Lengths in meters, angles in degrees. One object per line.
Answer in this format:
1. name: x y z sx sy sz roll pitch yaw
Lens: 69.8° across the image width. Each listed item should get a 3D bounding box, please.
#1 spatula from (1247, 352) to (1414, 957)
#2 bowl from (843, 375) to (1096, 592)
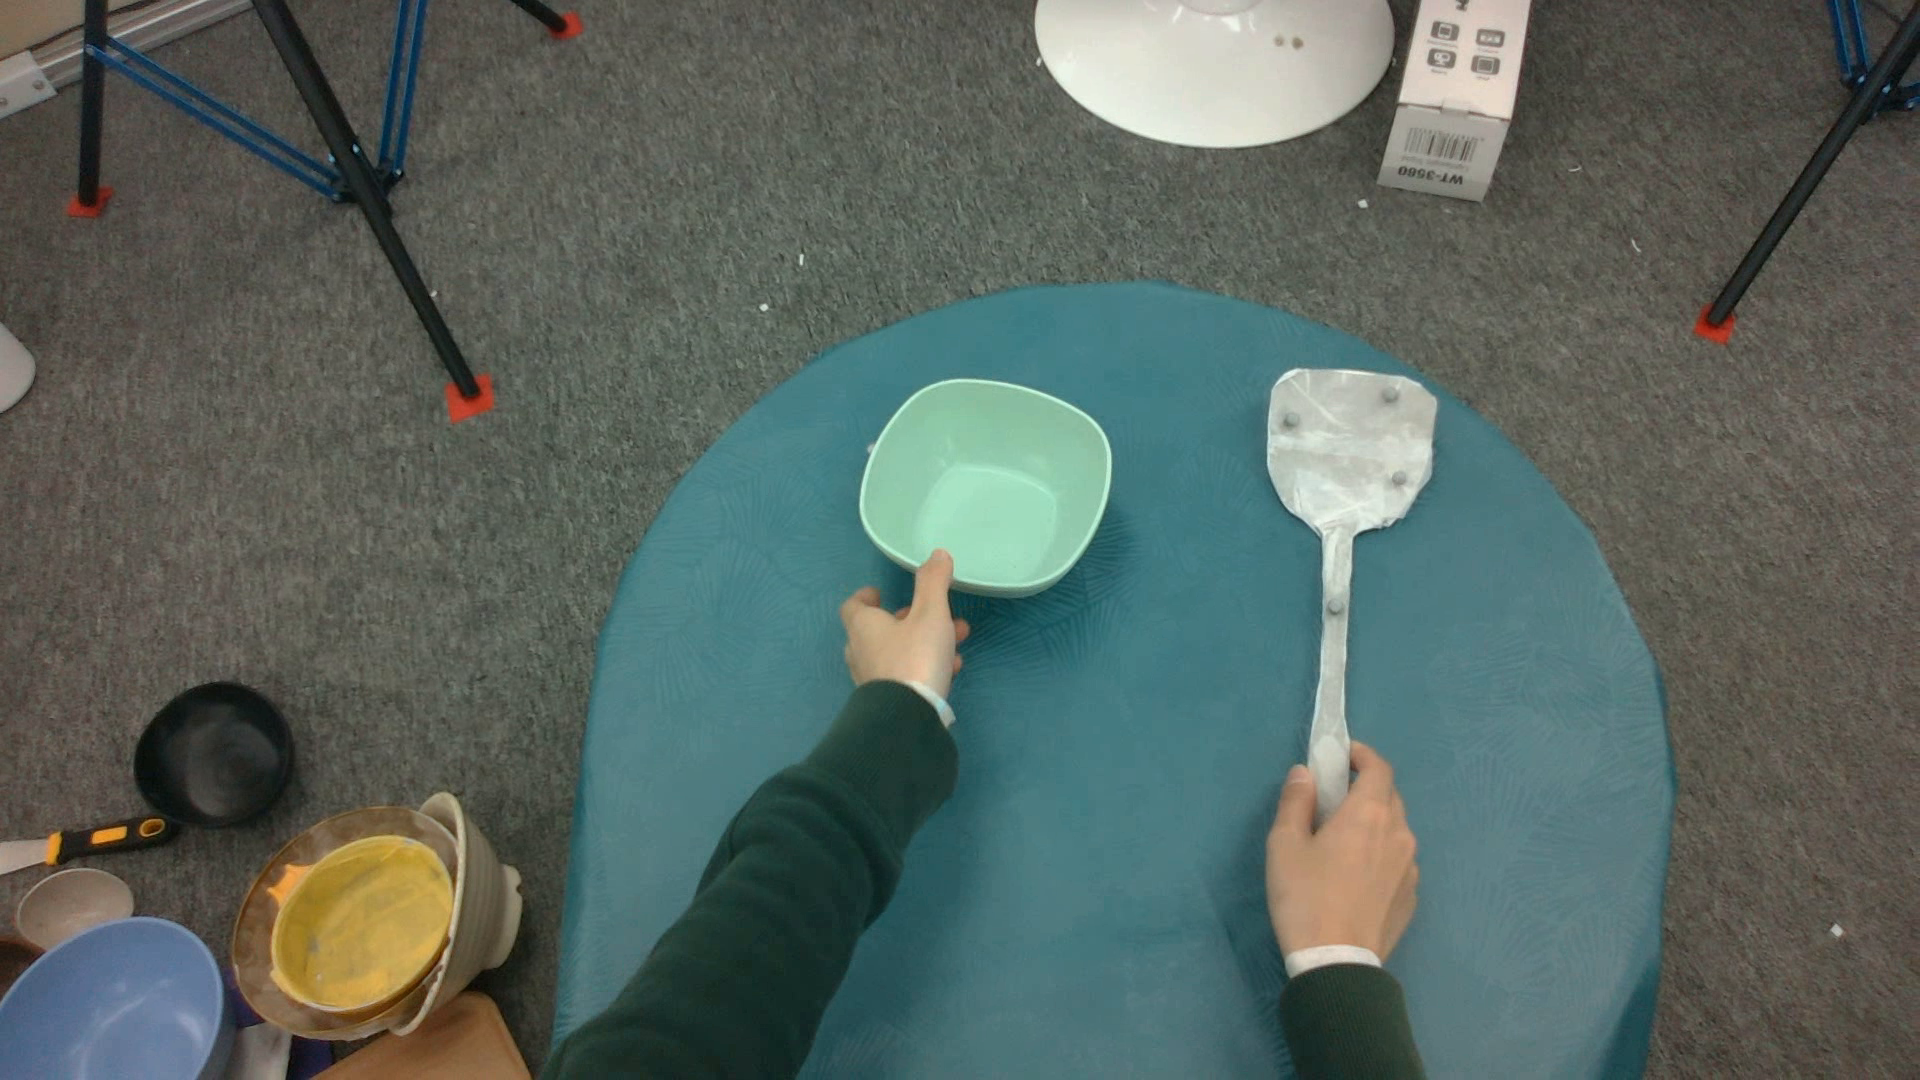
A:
1. spatula: 0.195 0.049 0.767 0.098 0.044 0.366 10 58 6
2. bowl: 0.007 -0.024 0.807 0.151 0.058 0.152 -1 58 2
